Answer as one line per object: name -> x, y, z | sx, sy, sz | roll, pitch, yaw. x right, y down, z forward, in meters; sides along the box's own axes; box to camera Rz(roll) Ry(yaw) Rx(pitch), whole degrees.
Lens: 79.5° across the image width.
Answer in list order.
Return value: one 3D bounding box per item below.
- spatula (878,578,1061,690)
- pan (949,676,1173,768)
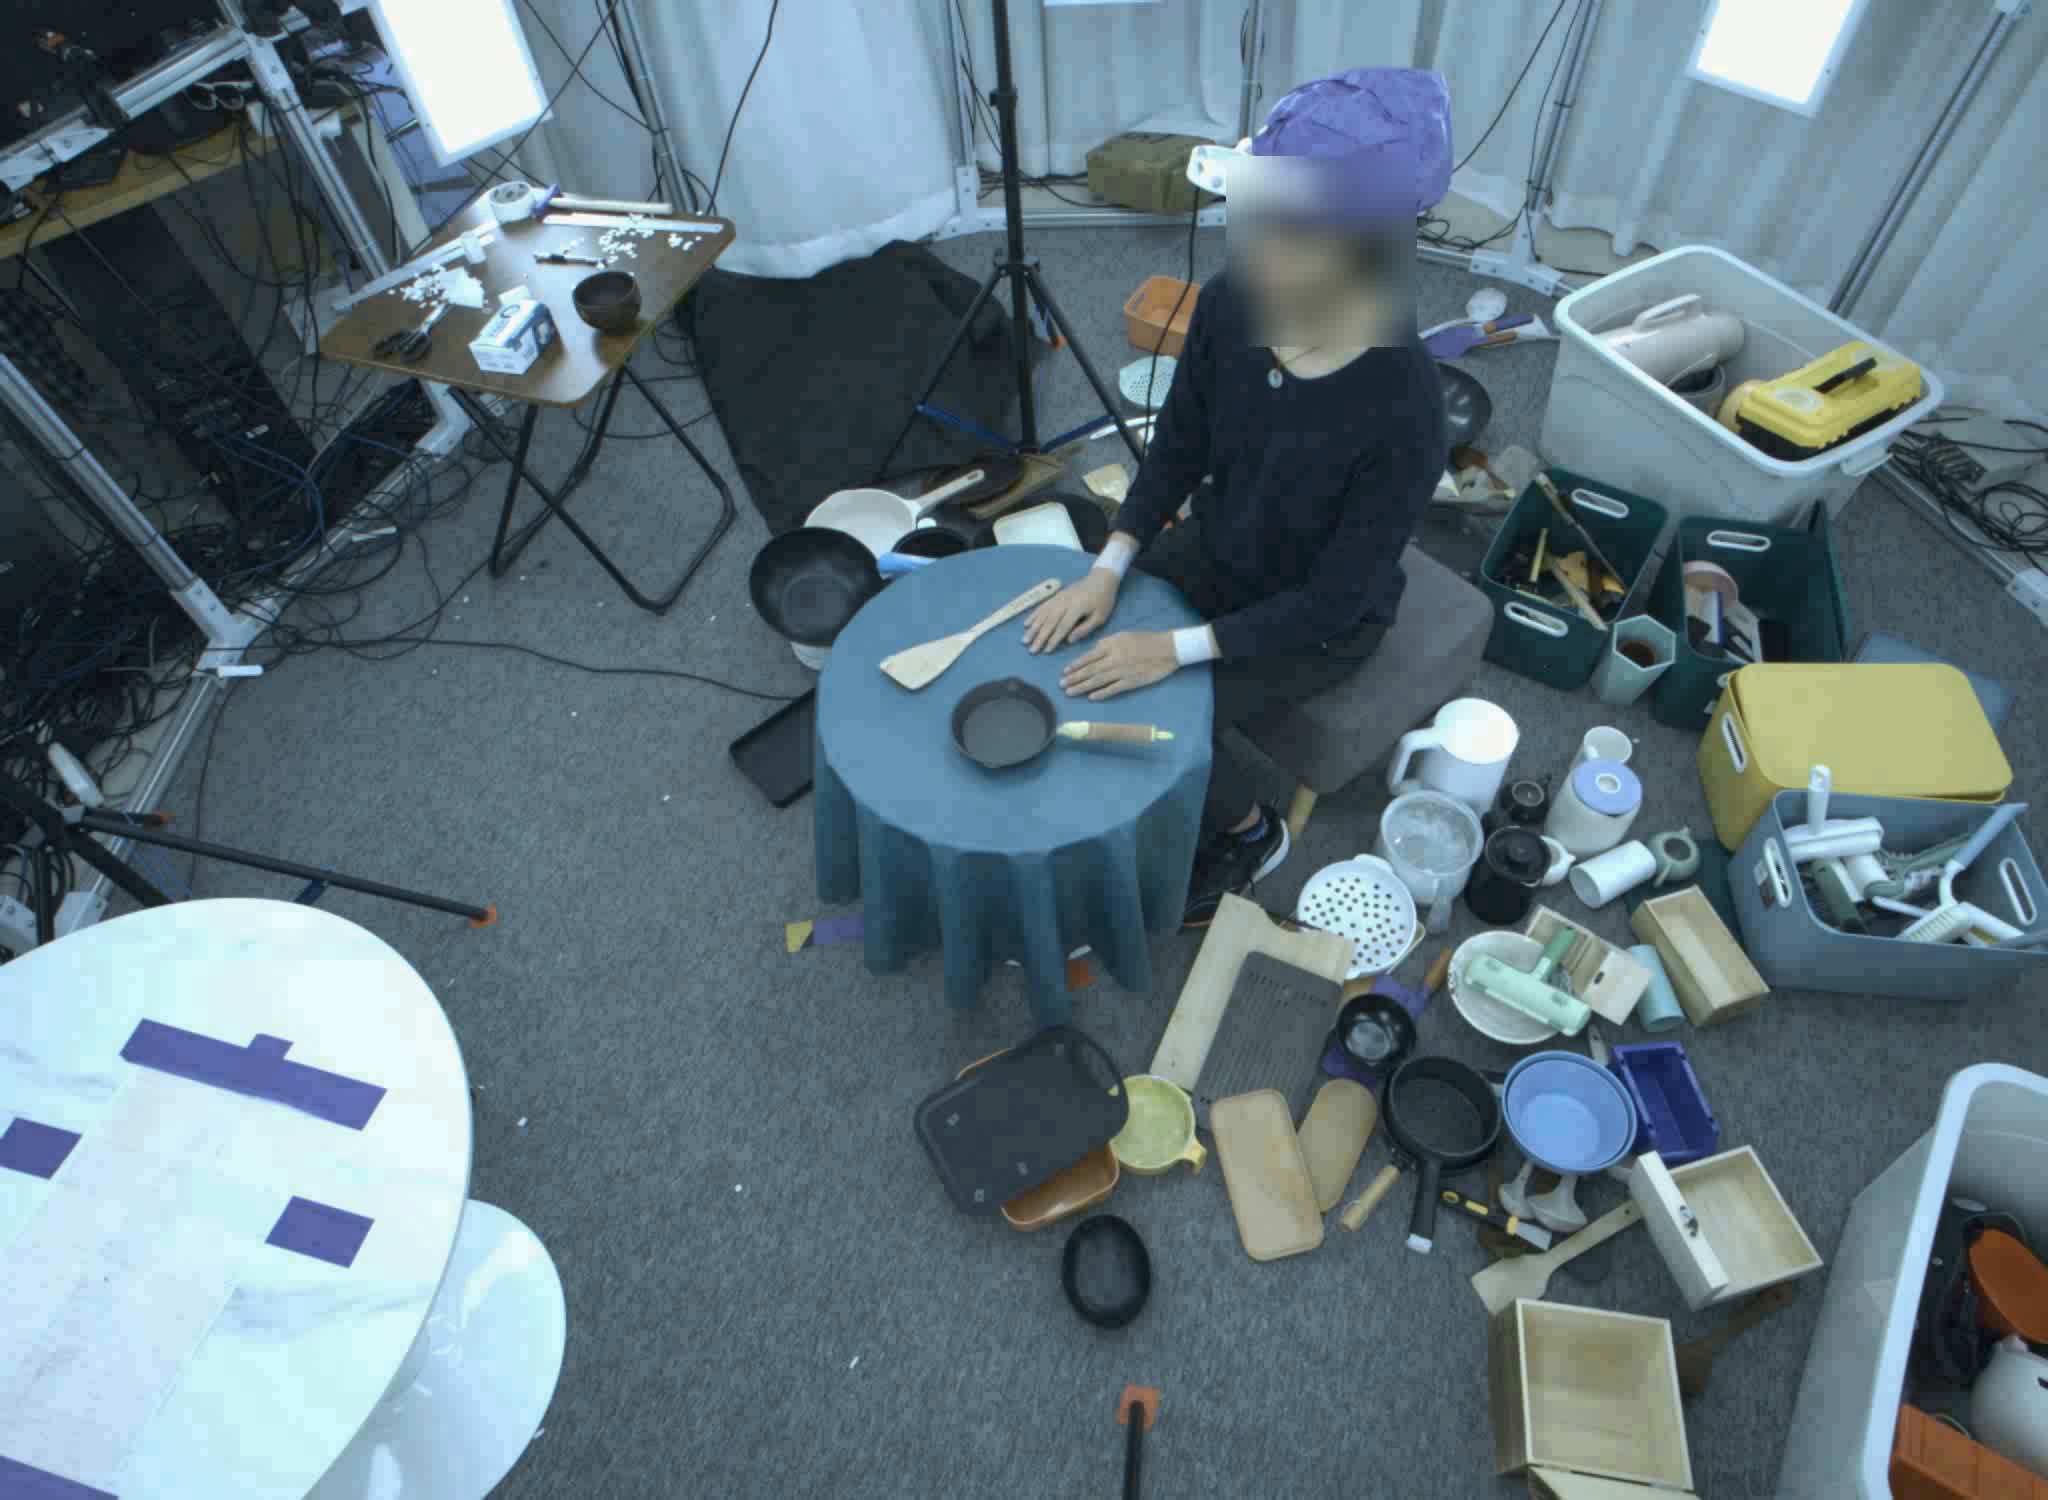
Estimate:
spatula -> -0.074, -0.188, 1.913 | 0.330, 0.017, 0.078 | -33, 61, -20
pan -> 0.052, -0.028, 1.774 | 0.322, 0.050, 0.168 | 8, 55, 9
